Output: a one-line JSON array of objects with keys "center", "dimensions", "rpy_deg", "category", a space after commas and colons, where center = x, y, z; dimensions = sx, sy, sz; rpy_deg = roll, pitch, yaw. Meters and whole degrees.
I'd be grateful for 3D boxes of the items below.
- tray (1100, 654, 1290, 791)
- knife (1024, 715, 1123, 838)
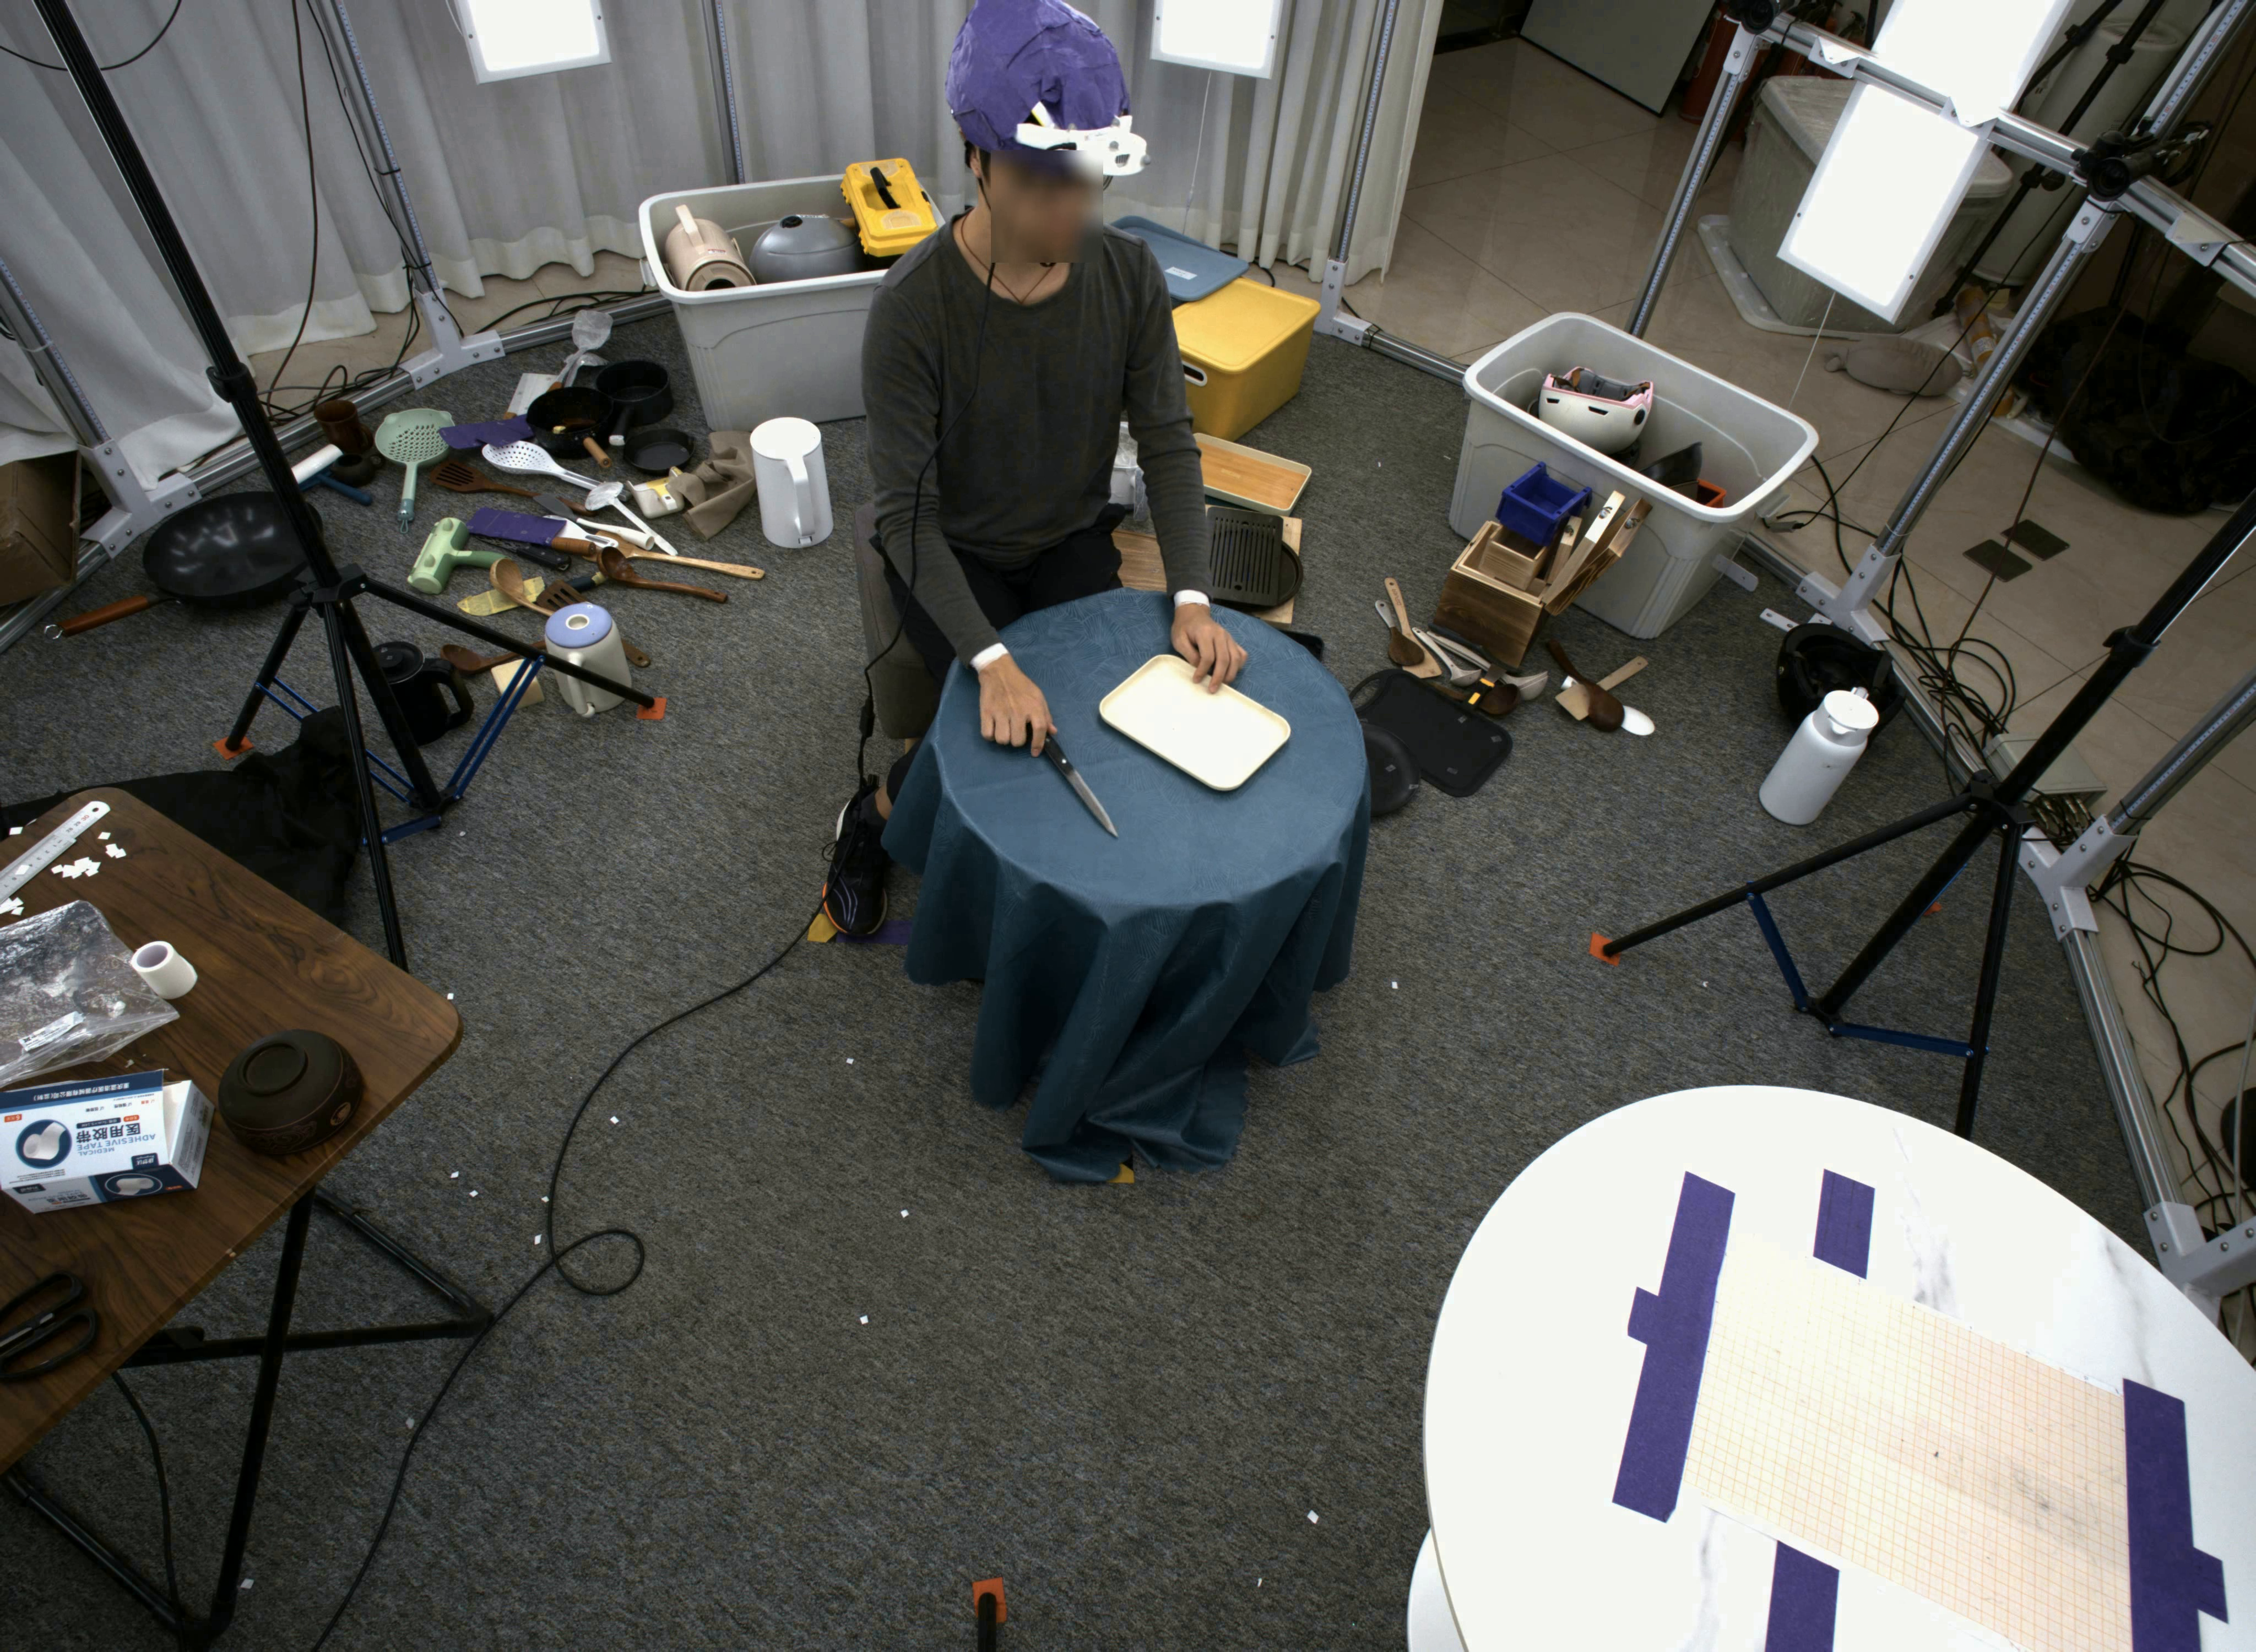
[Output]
[{"center": [0.092, -0.145, 1.789], "dimensions": [0.242, 0.017, 0.173], "rpy_deg": [33, 55, 23], "category": "tray"}, {"center": [-0.075, -0.067, 1.710], "dimensions": [0.024, 0.016, 0.243], "rpy_deg": [-12, 52, -38], "category": "knife"}]
